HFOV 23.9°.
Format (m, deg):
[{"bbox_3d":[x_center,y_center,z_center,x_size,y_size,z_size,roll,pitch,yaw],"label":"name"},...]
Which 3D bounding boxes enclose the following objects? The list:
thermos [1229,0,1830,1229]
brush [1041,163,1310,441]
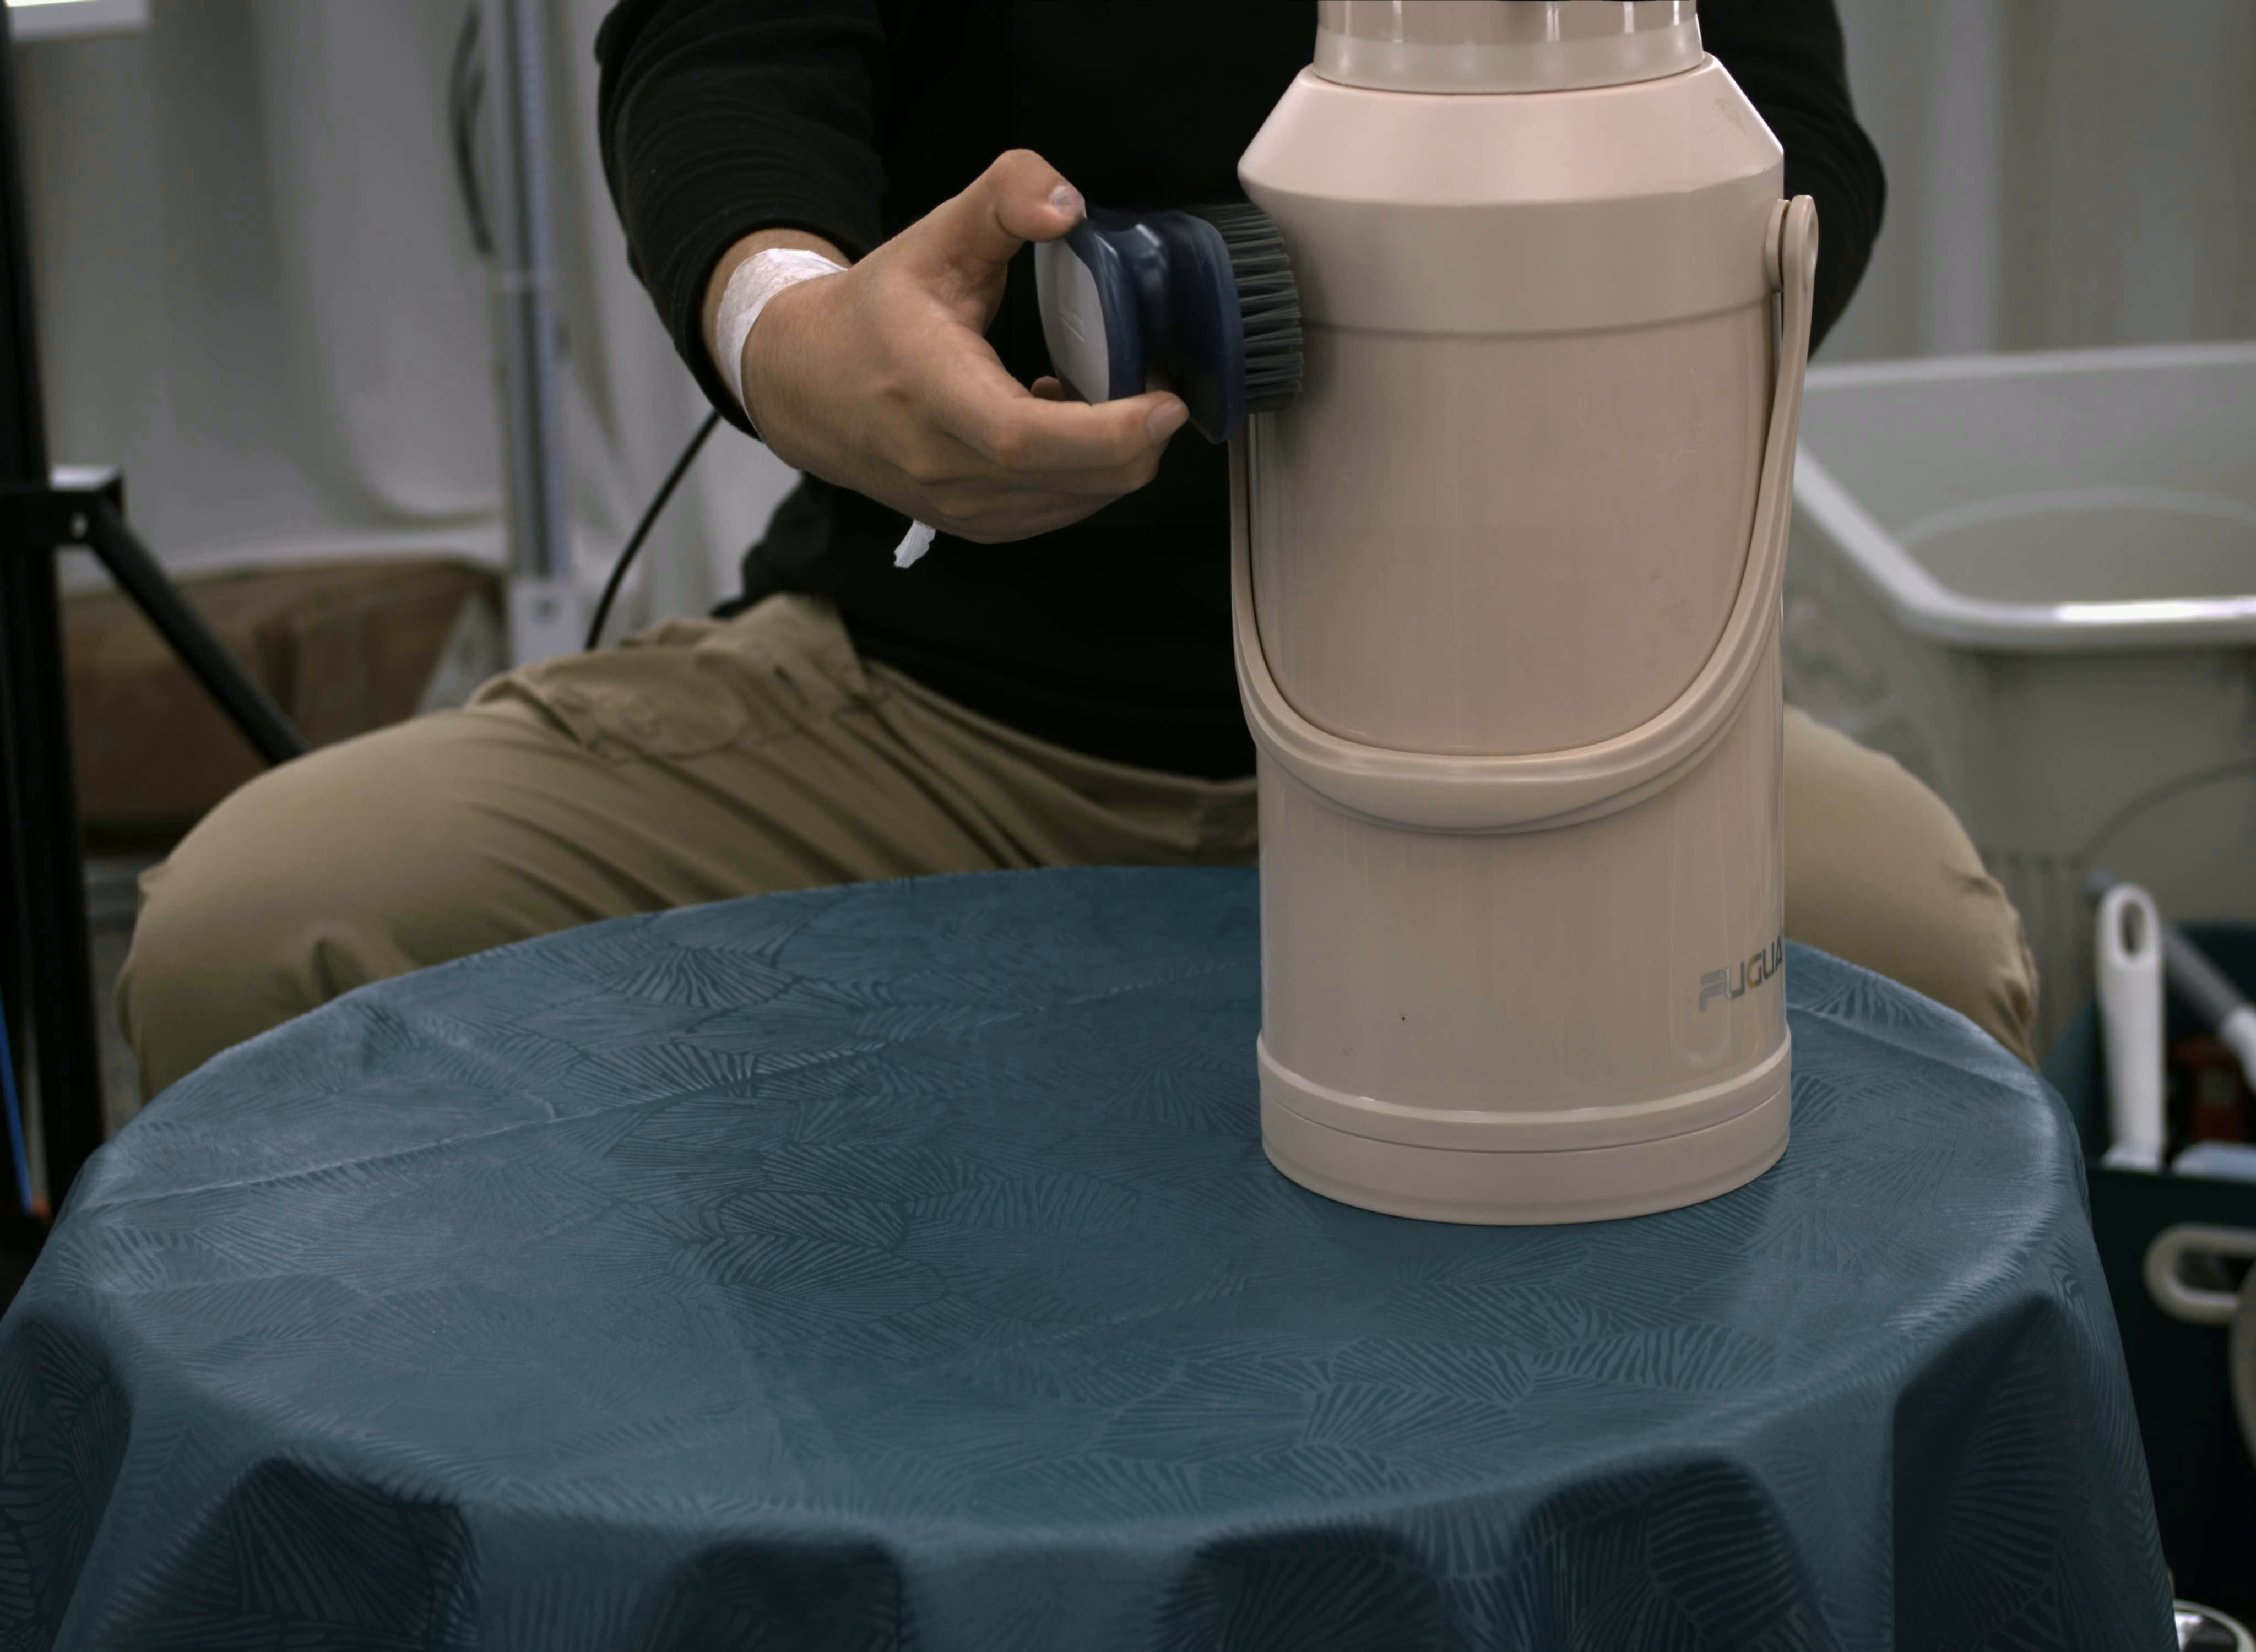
[{"bbox_3d":[0.121,-0.101,1.549,0.177,0.406,0.205,2,16,19],"label":"thermos"},{"bbox_3d":[0.015,-0.147,1.494,0.060,0.068,0.123,-9,21,-9],"label":"brush"}]
